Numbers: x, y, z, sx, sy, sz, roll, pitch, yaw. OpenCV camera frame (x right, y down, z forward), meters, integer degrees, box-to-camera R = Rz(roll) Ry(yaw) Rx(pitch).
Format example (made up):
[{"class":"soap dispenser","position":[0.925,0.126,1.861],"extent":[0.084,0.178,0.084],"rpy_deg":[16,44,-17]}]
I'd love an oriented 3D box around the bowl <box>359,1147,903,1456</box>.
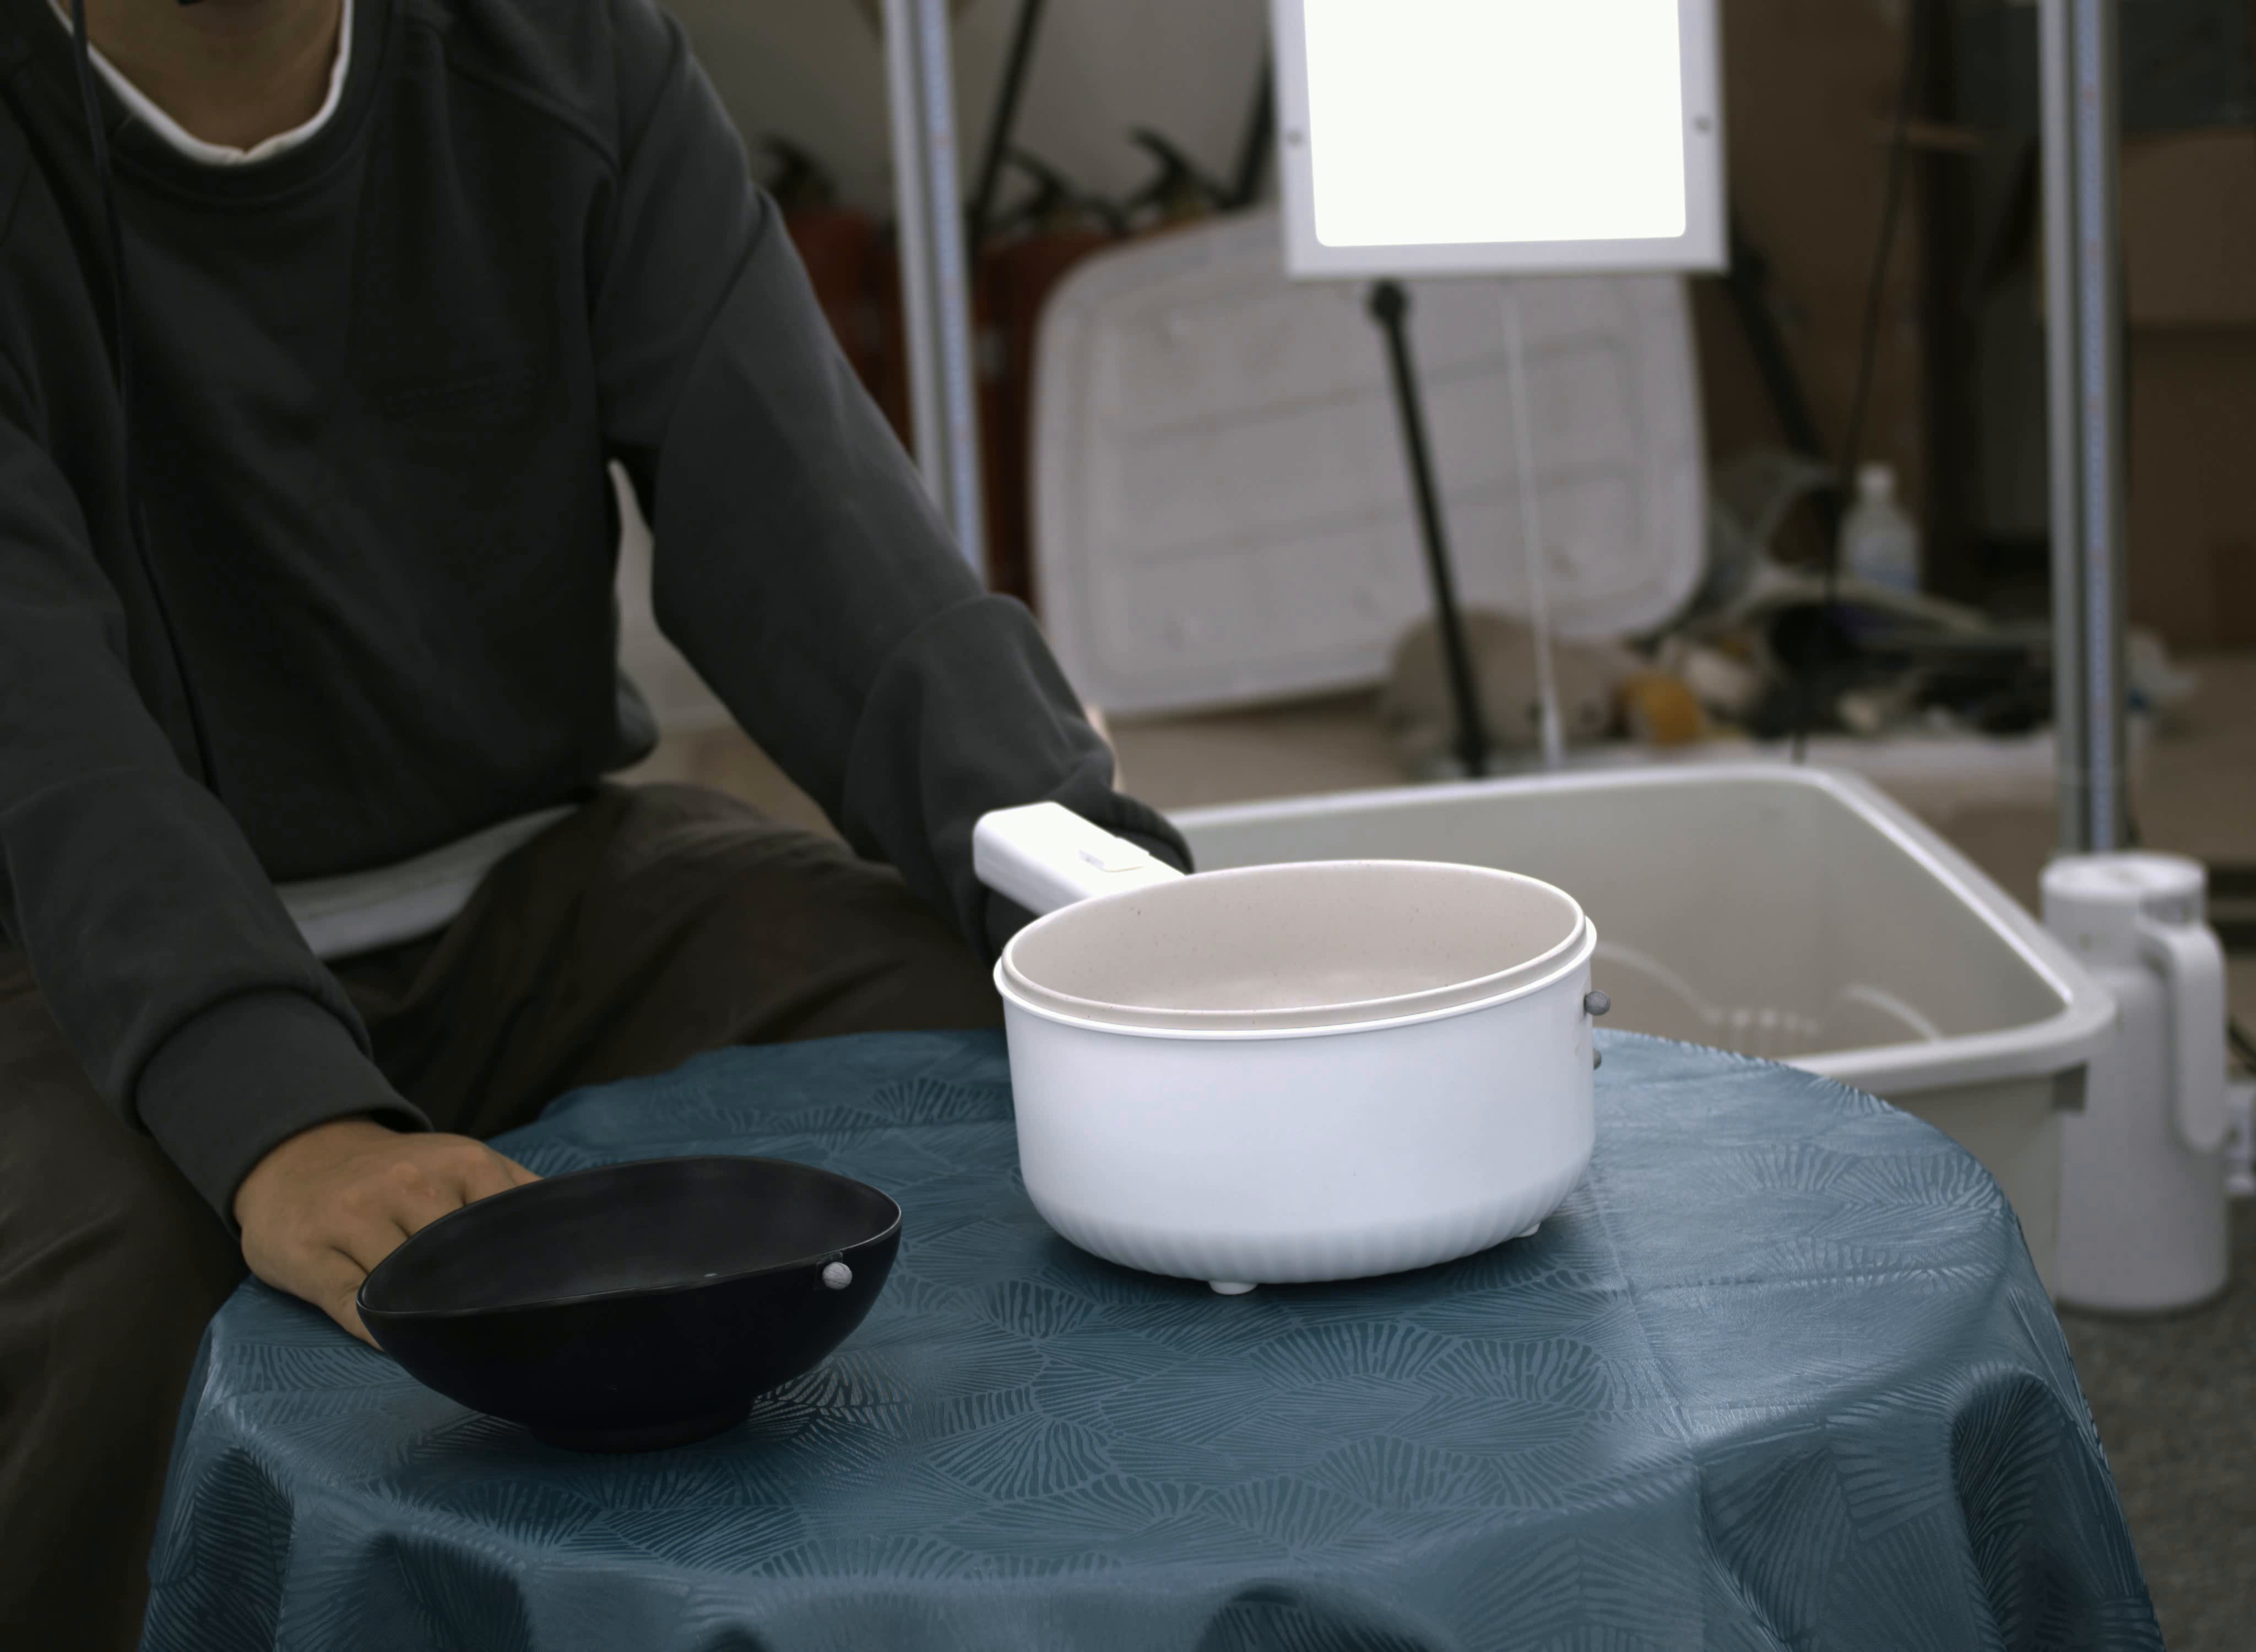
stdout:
[{"class":"bowl","position":[-0.150,0.153,1.705],"extent":[0.169,0.067,0.138],"rpy_deg":[-8,14,-7]}]

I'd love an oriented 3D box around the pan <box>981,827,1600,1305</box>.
[{"class":"pan","position":[0.031,0.076,1.910],"extent":[0.198,0.102,0.360],"rpy_deg":[-12,13,-20]}]
